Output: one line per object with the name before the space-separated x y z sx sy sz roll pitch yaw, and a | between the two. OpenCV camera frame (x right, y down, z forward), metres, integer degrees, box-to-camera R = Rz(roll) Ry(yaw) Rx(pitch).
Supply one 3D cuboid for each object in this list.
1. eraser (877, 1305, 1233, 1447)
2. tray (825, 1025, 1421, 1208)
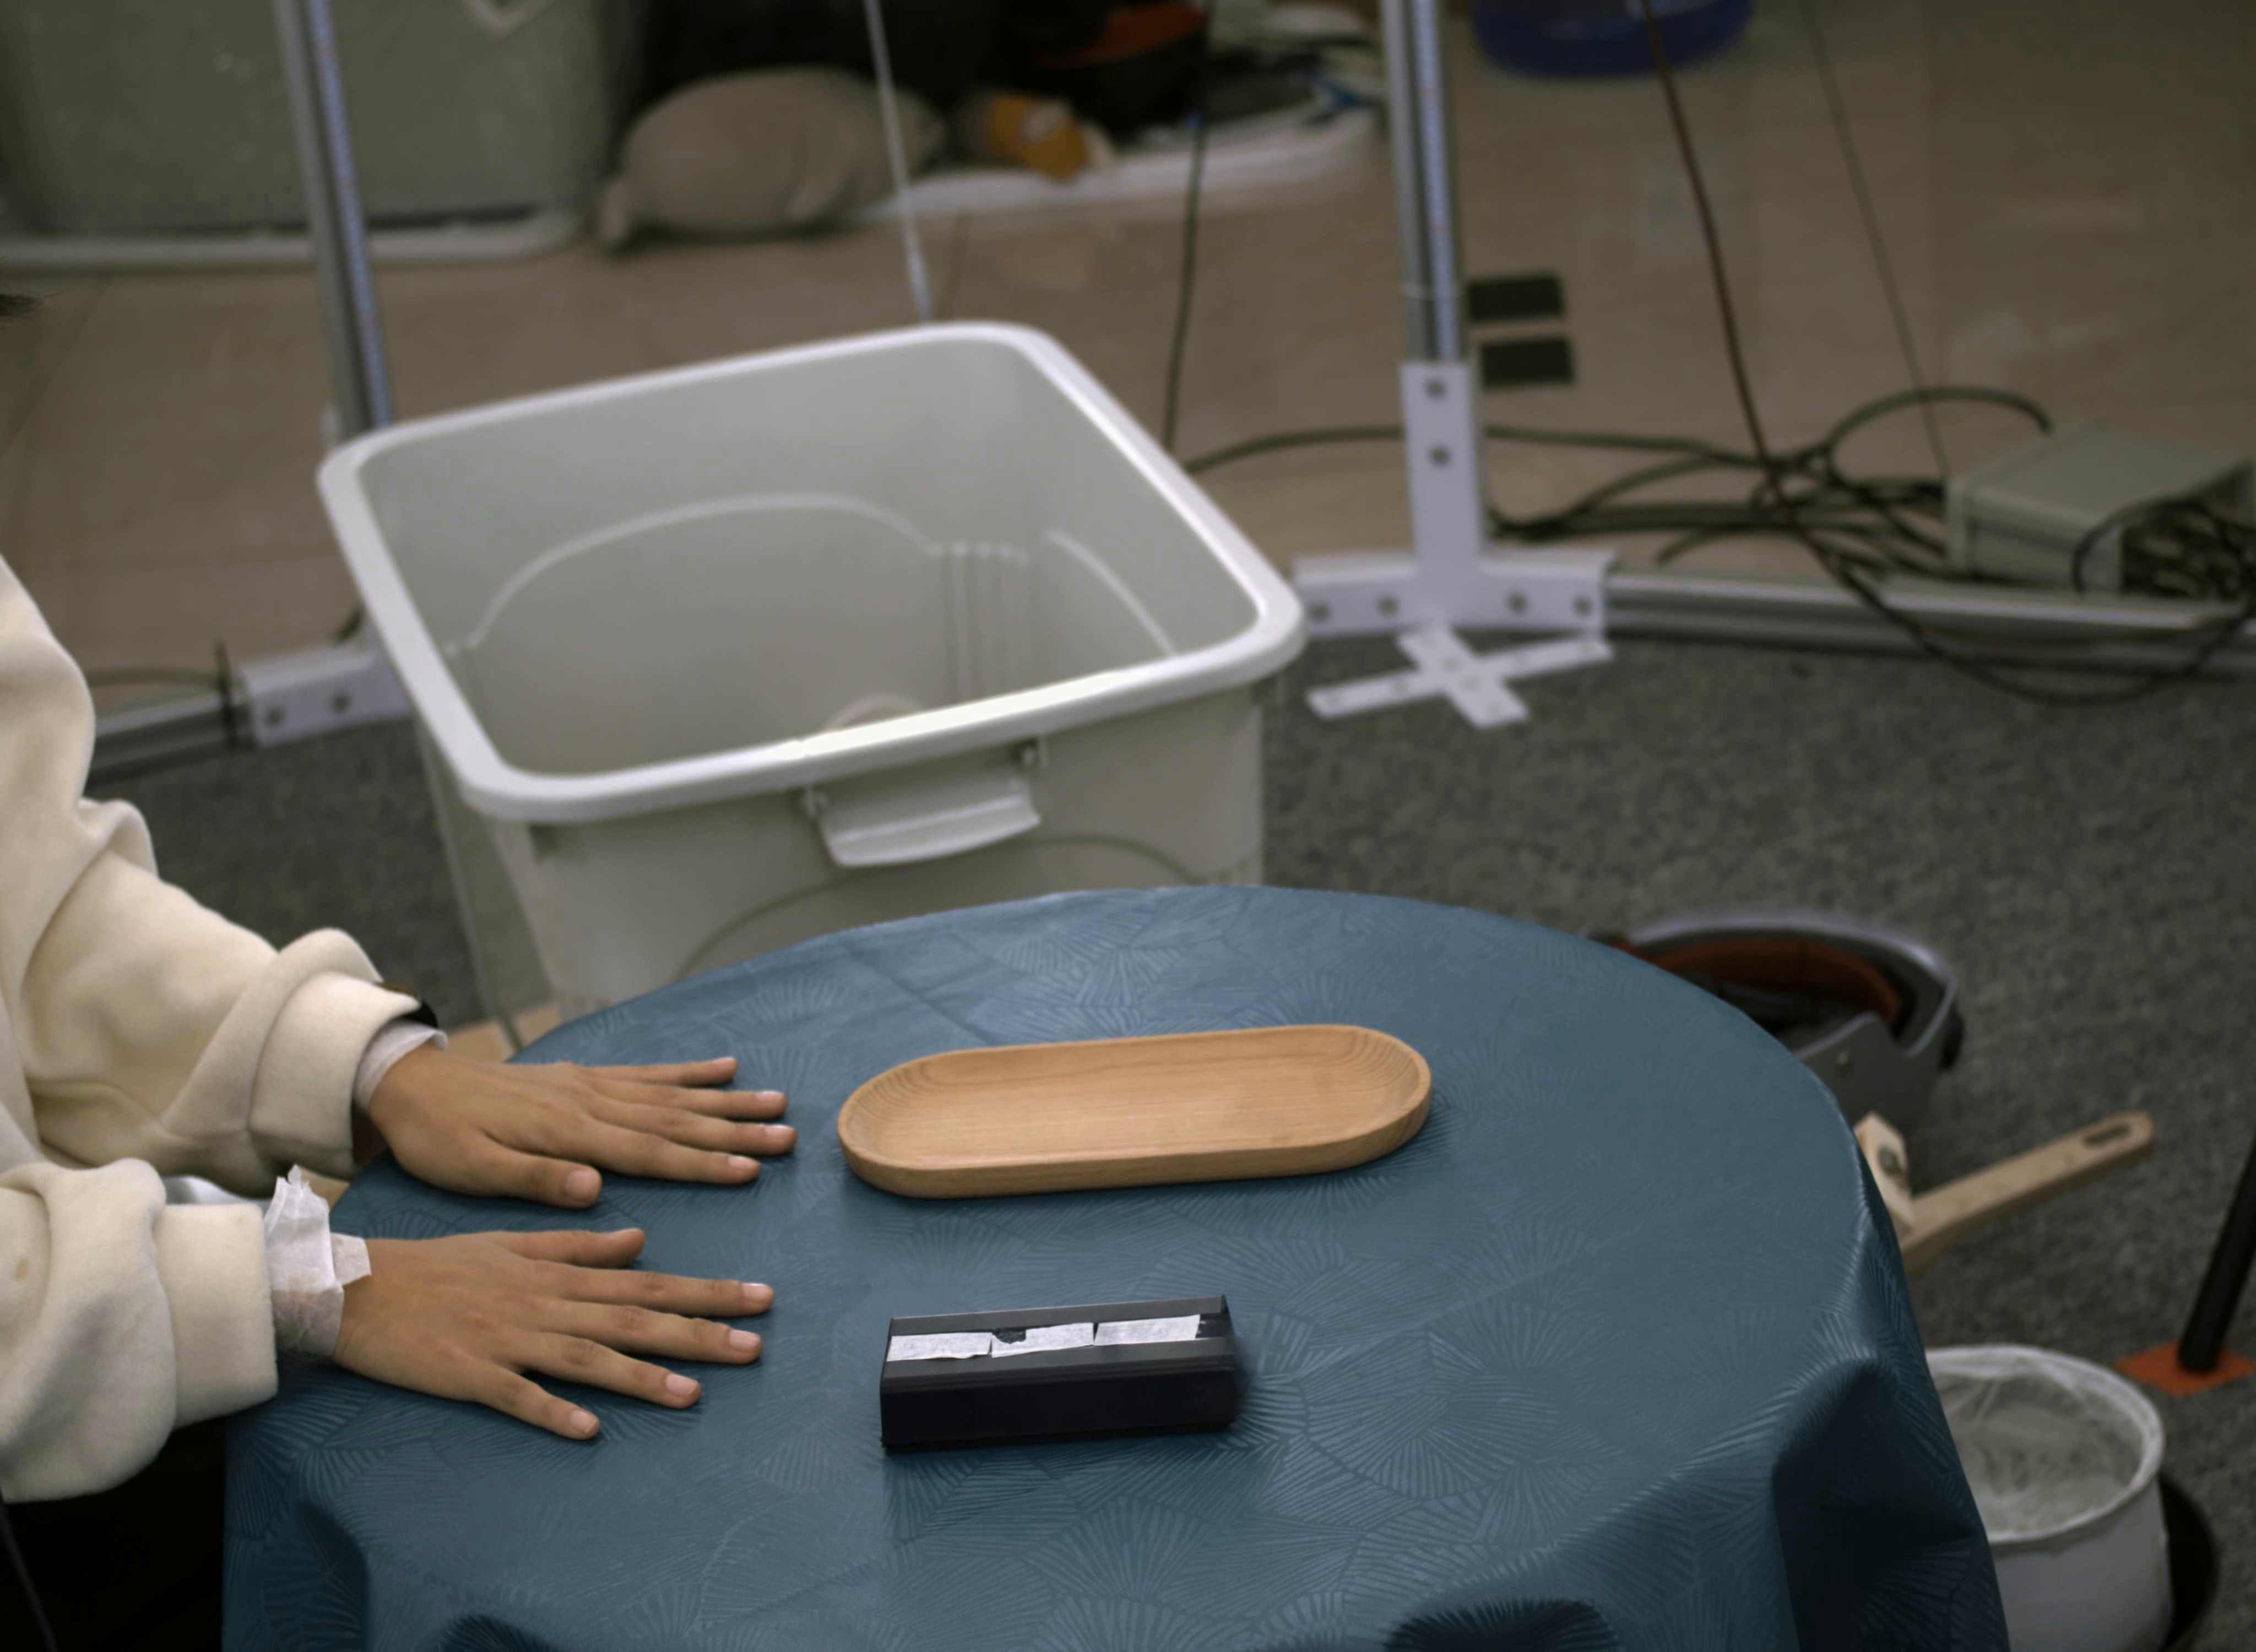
eraser | -0.024 0.194 2.003 0.125 0.031 0.053 -4 20 4
tray | -0.002 0.113 2.187 0.231 0.020 0.100 -6 24 4
